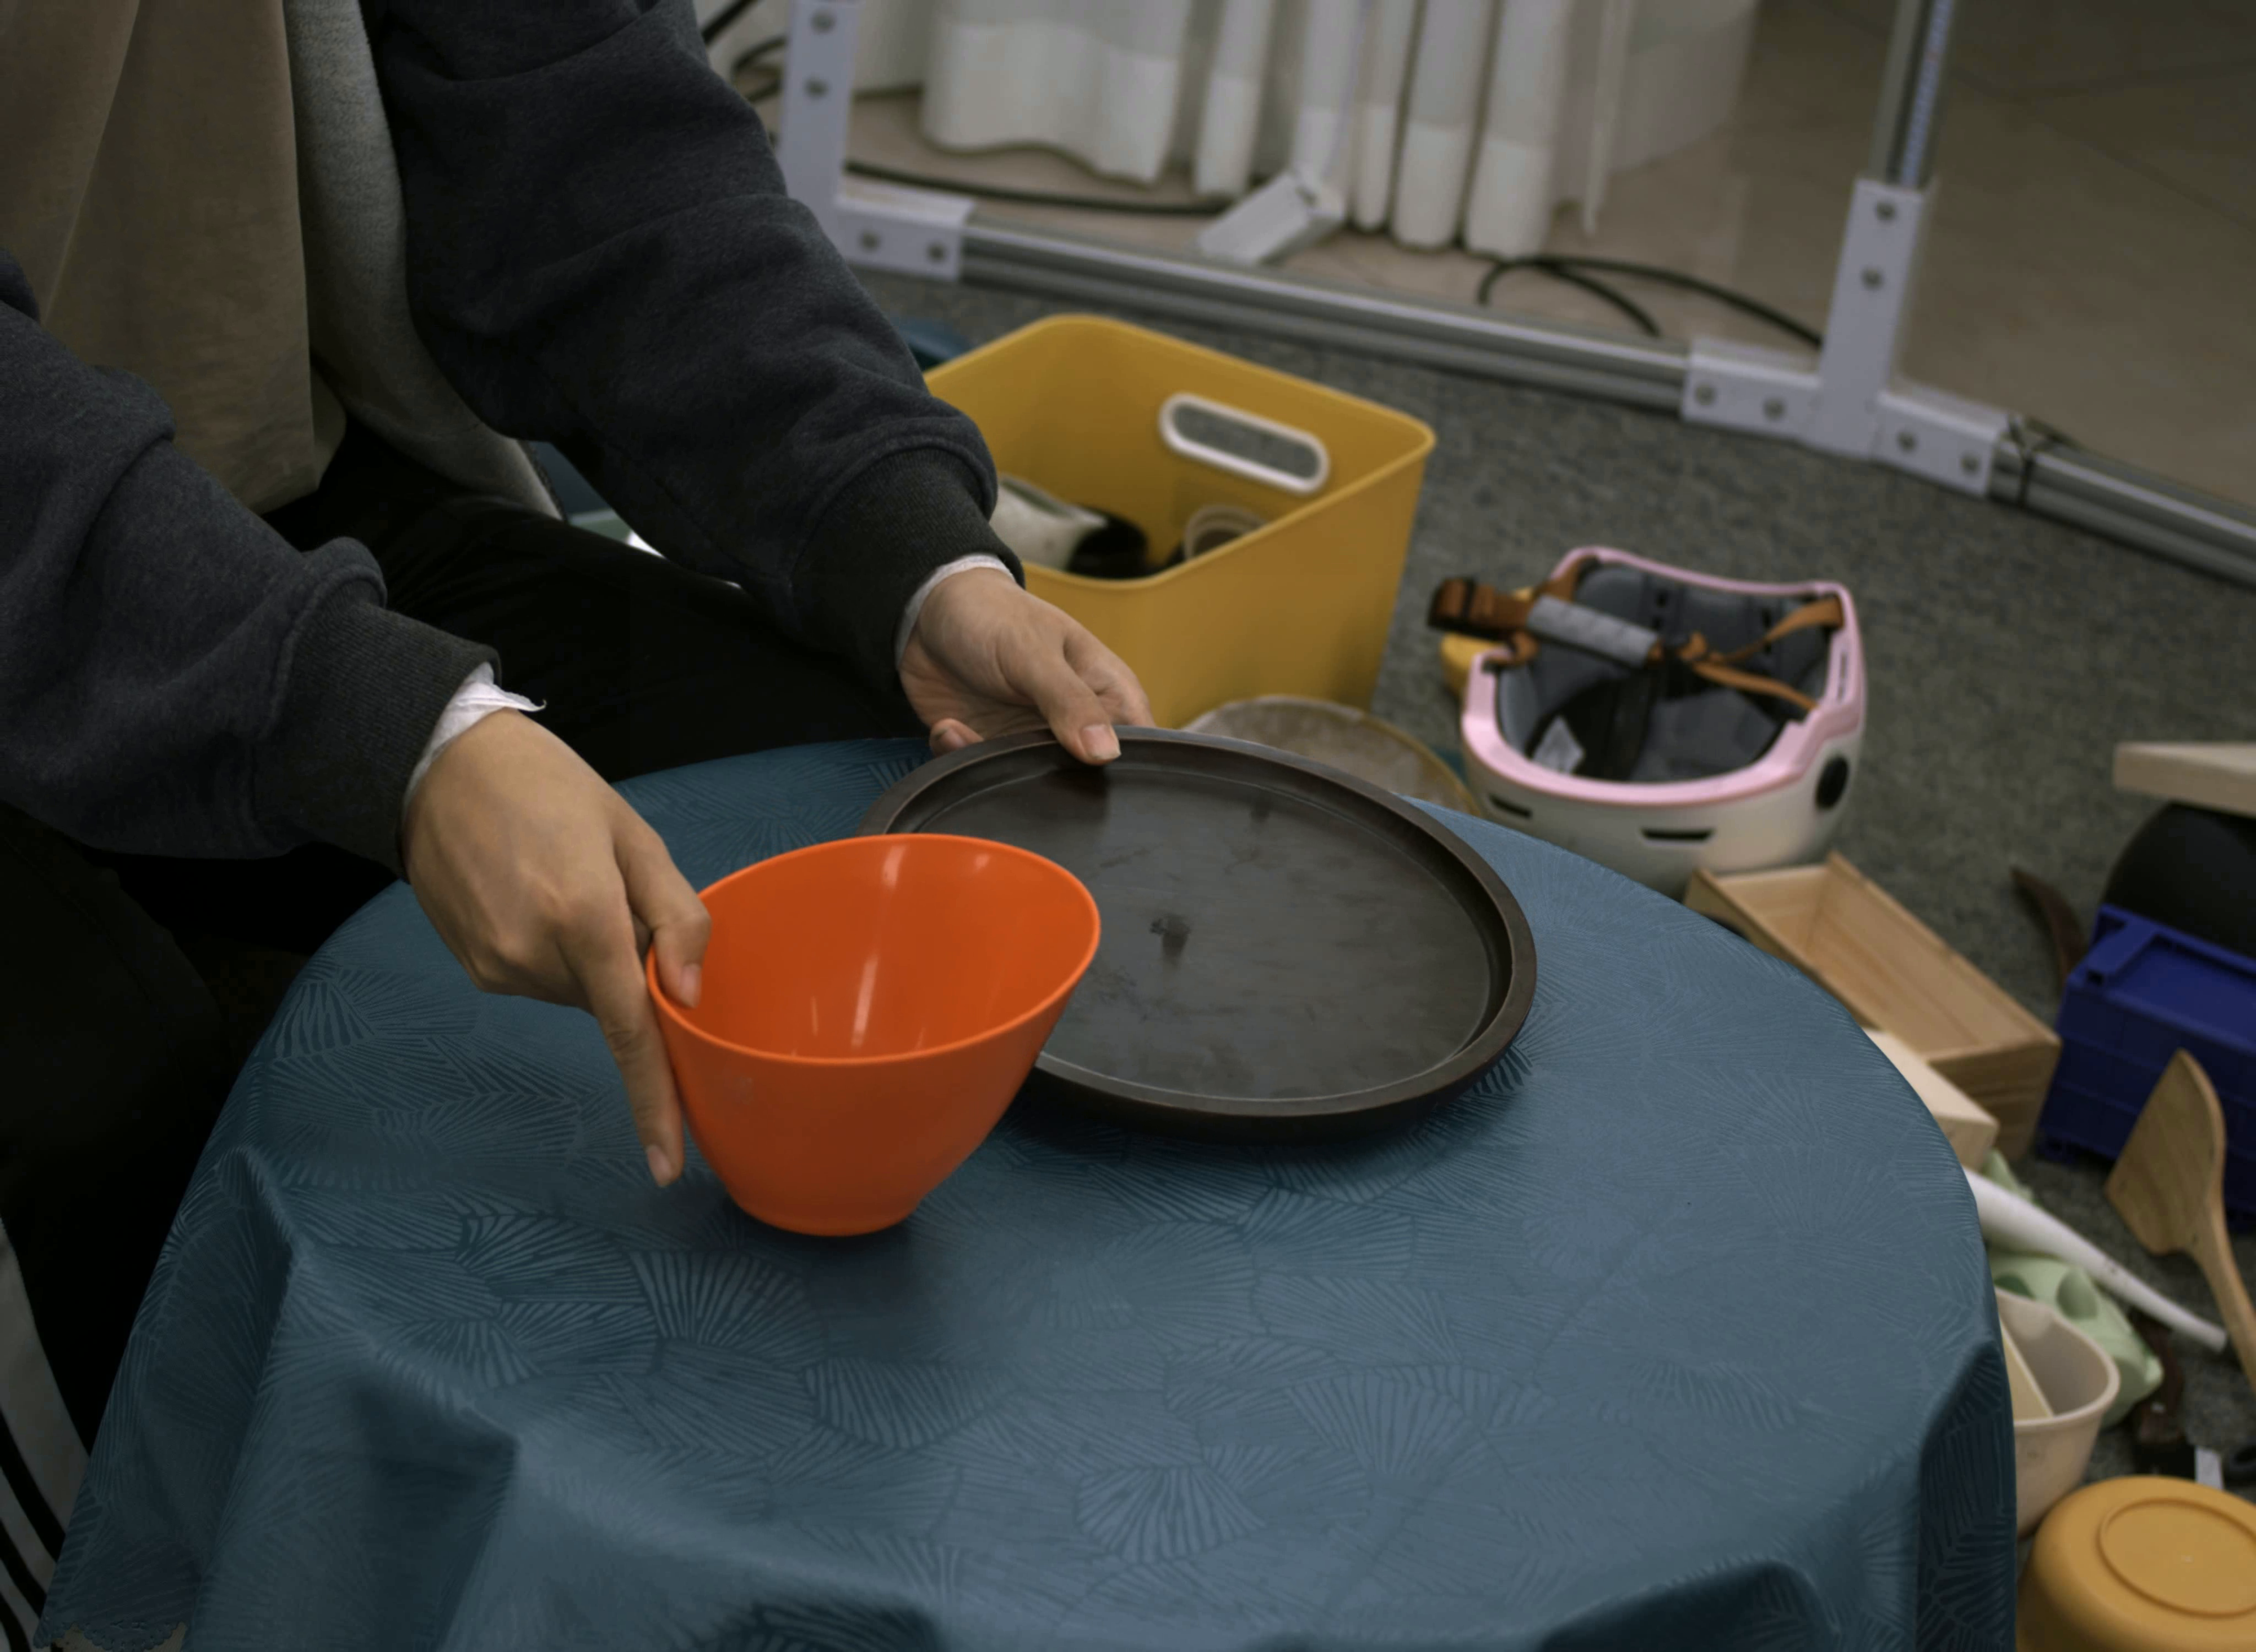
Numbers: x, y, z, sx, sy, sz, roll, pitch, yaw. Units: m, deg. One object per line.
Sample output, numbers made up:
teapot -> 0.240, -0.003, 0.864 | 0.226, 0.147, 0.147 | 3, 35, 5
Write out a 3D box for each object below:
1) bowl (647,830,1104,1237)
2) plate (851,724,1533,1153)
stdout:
bowl -> -0.086, 0.074, 1.748 | 0.147, 0.104, 0.149 | 5, 29, -3
plate -> 0.021, 0.038, 1.918 | 0.254, 0.029, 0.256 | 7, 33, -5
